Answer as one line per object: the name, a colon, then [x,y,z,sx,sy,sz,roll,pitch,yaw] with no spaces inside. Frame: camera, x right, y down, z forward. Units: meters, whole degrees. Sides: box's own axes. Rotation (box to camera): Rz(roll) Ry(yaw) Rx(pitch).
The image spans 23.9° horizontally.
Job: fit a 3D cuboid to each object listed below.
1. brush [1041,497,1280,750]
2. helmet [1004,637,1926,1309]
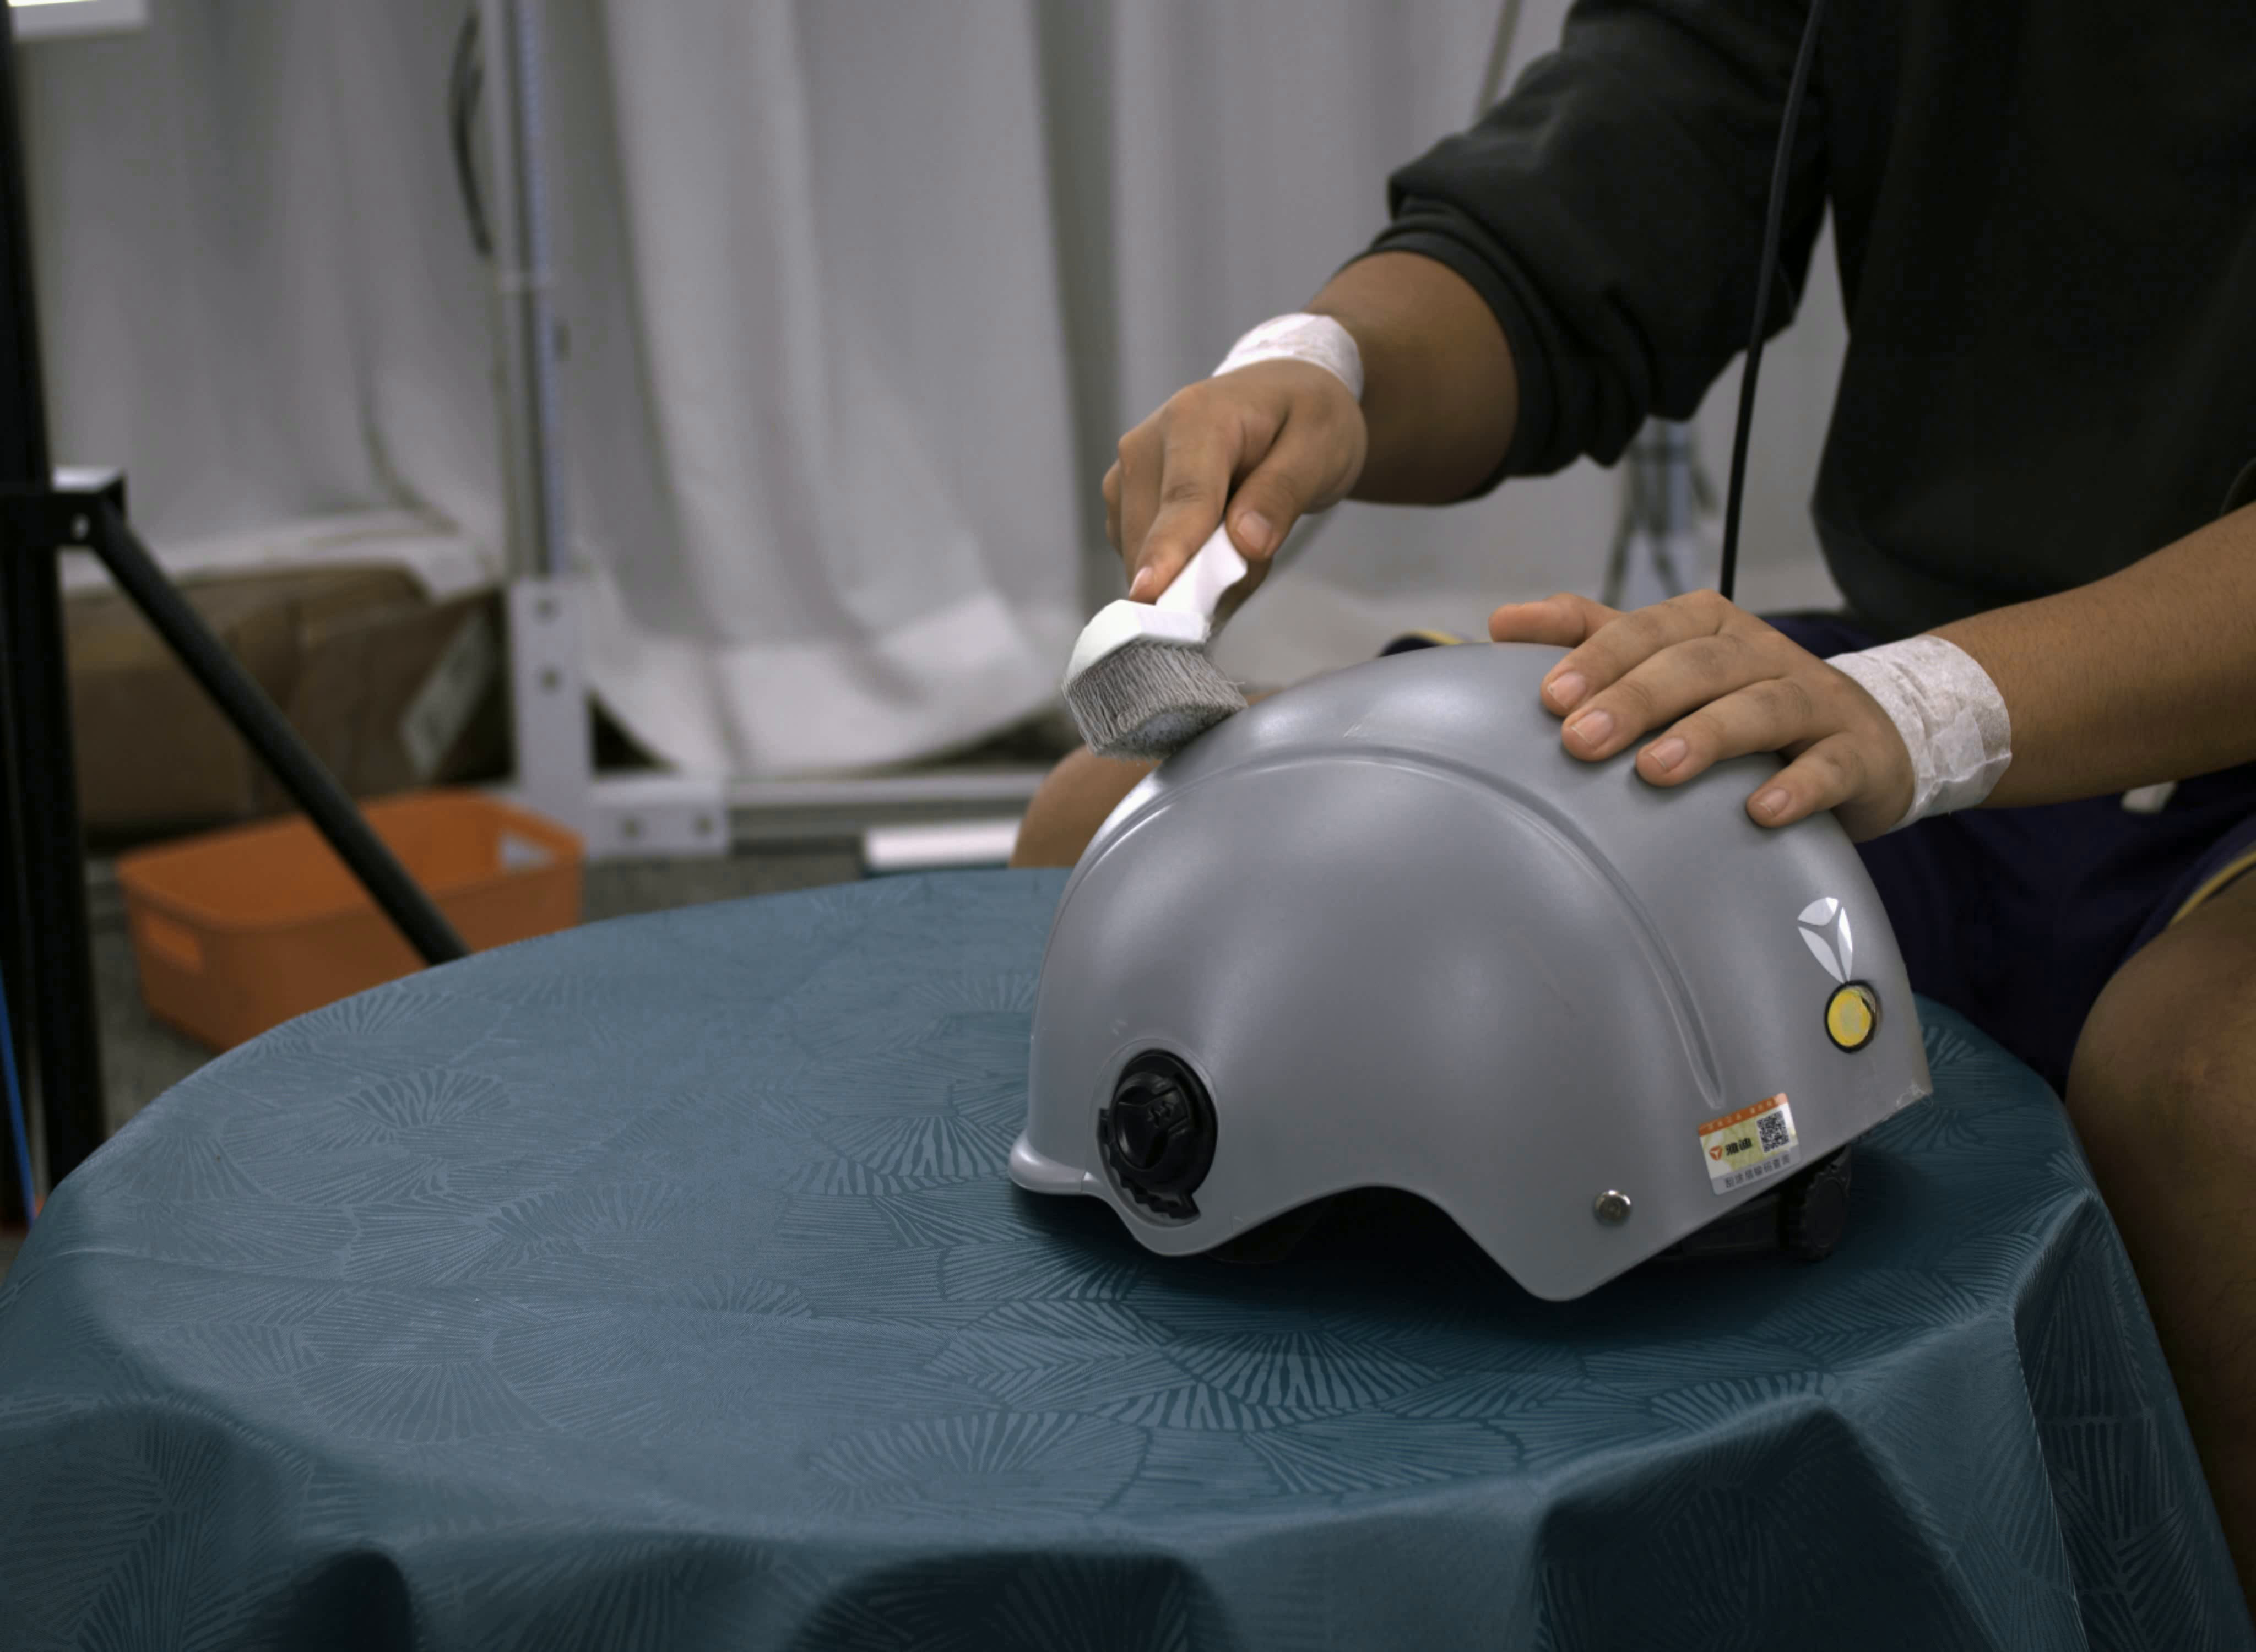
brush: [0.024,-0.062,1.625,0.034,0.050,0.241,-34,2,17]
helmet: [0.091,0.030,1.527,0.282,0.169,0.227,7,16,35]
